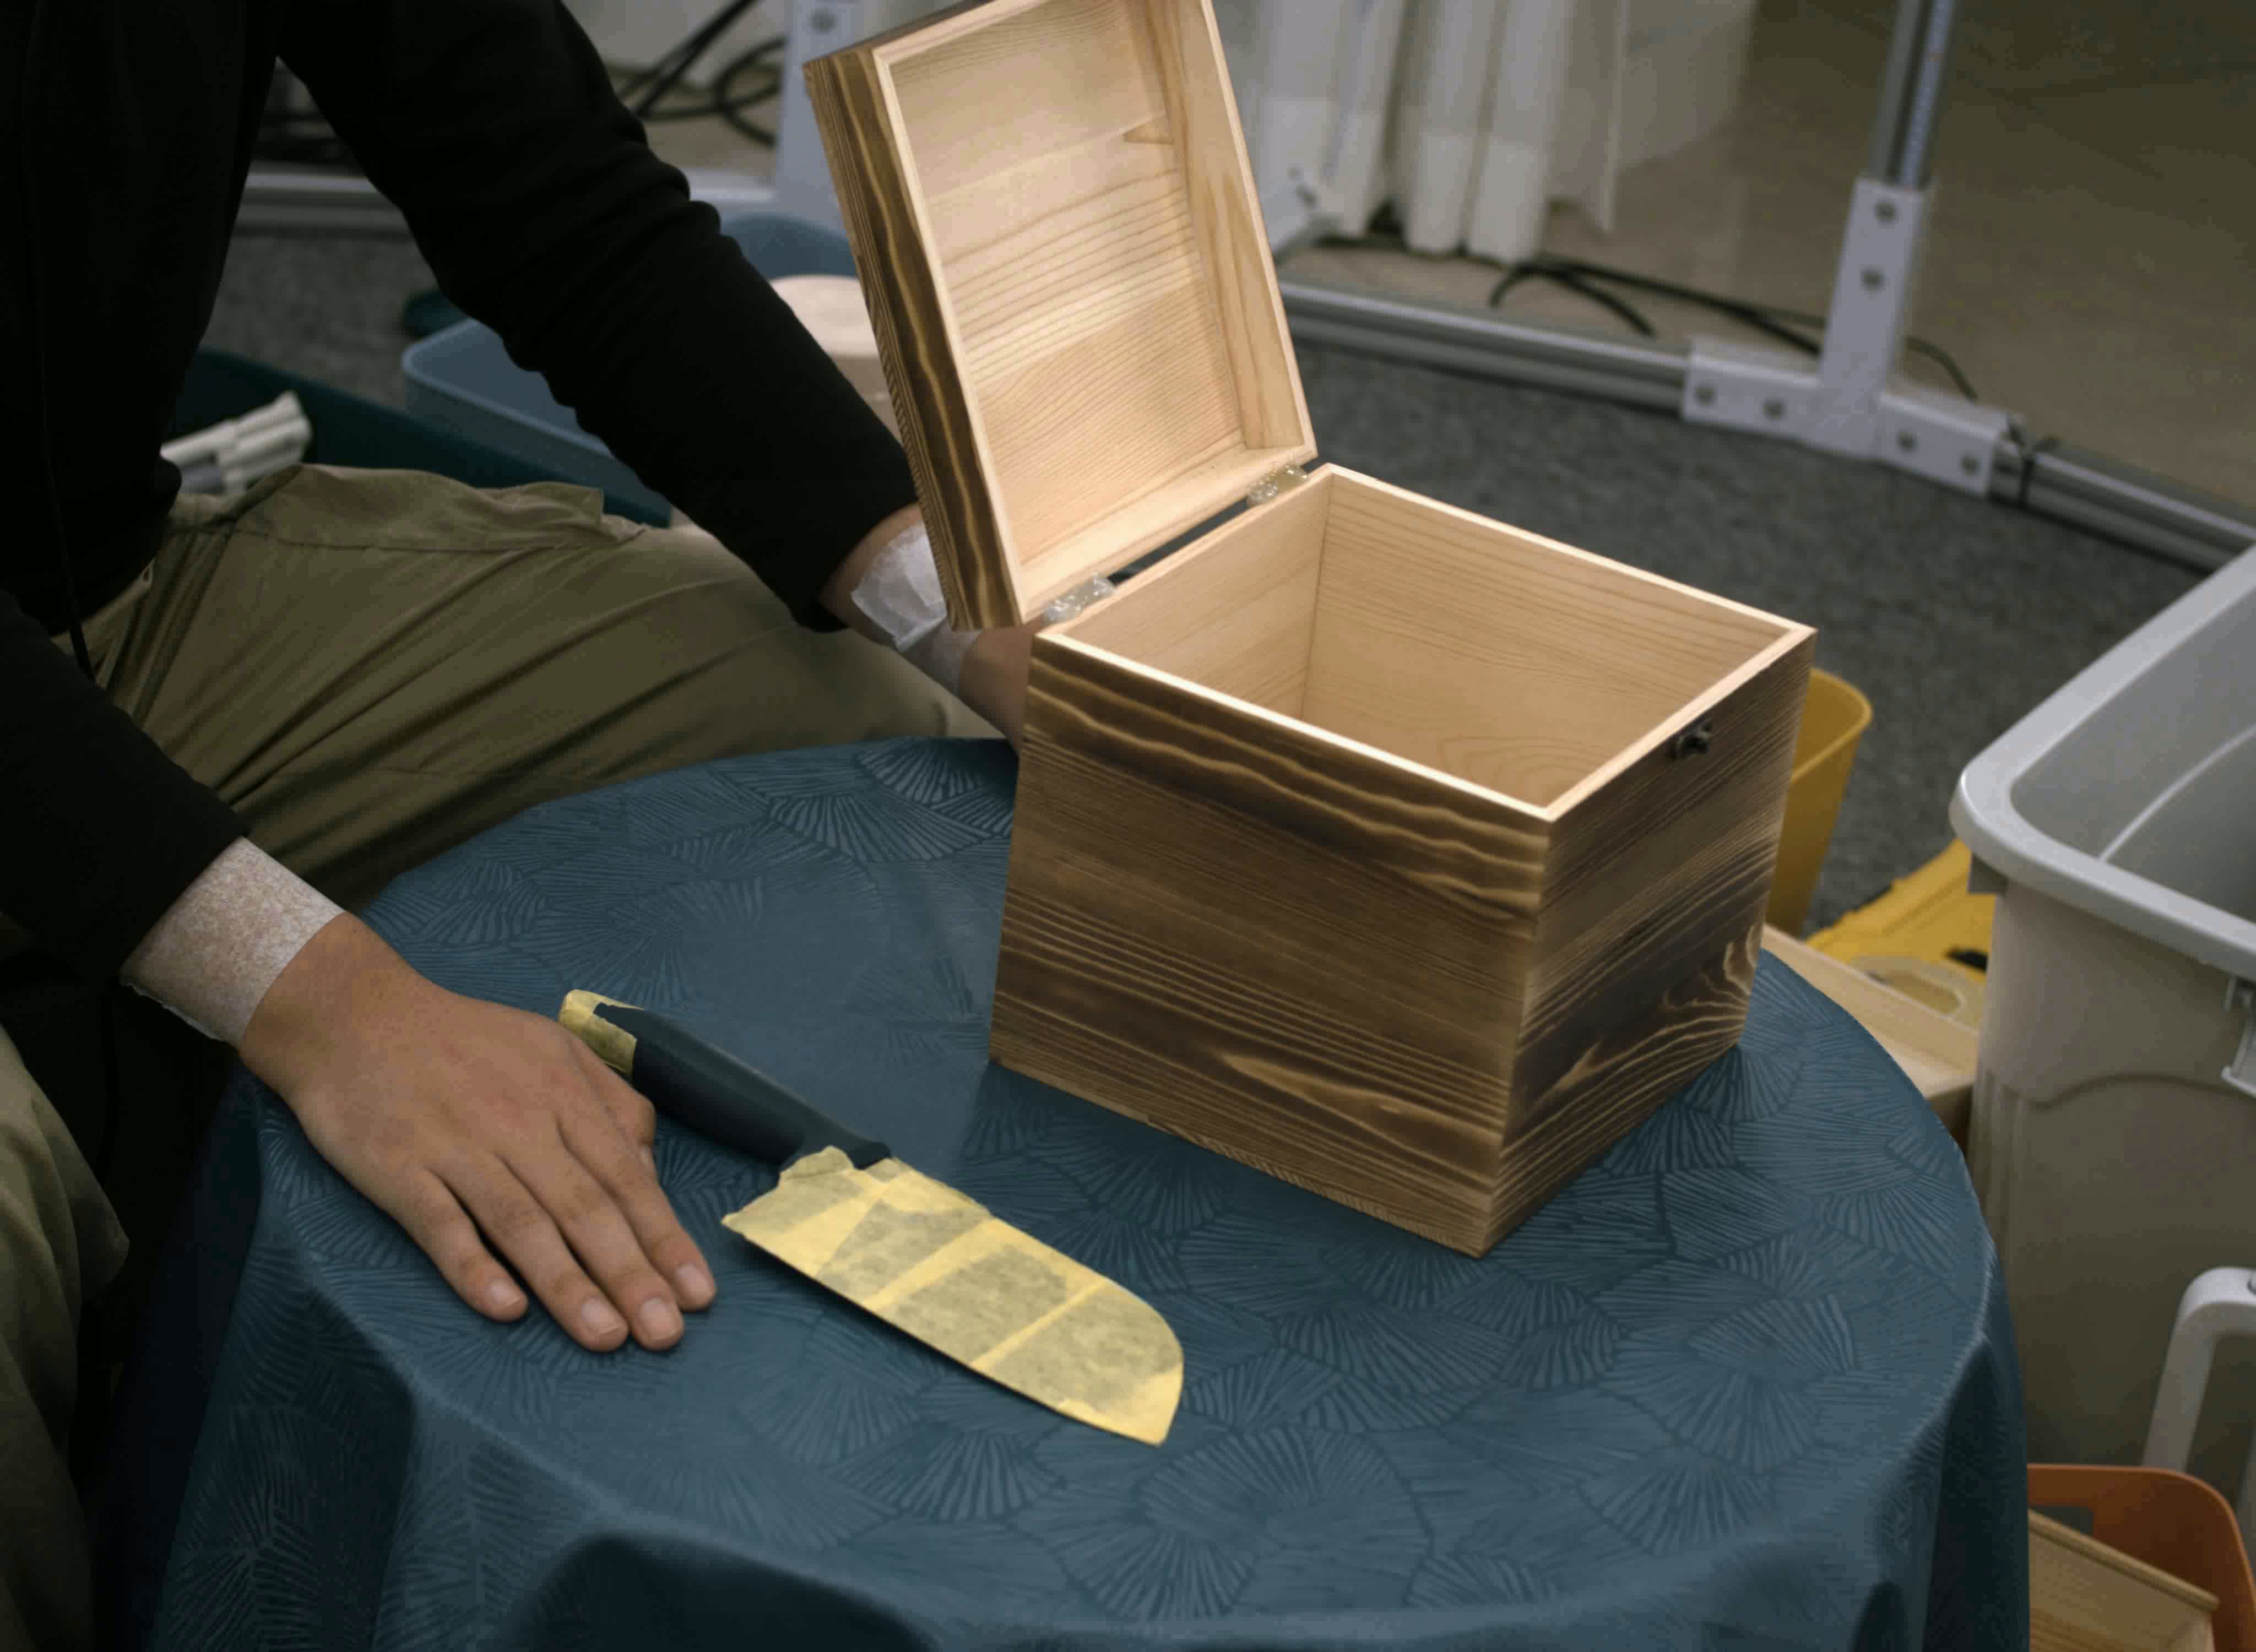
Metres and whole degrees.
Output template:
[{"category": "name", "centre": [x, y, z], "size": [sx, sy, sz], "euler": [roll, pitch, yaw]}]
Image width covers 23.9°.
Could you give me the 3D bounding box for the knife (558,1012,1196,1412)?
[{"category": "knife", "centre": [-0.091, 0.129, 1.757], "size": [0.291, 0.027, 0.080], "euler": [27, 31, 33]}]

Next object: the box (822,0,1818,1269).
[{"category": "box", "centre": [0.061, -0.093, 1.846], "size": [0.324, 0.374, 0.208], "euler": [20, 30, 26]}]
